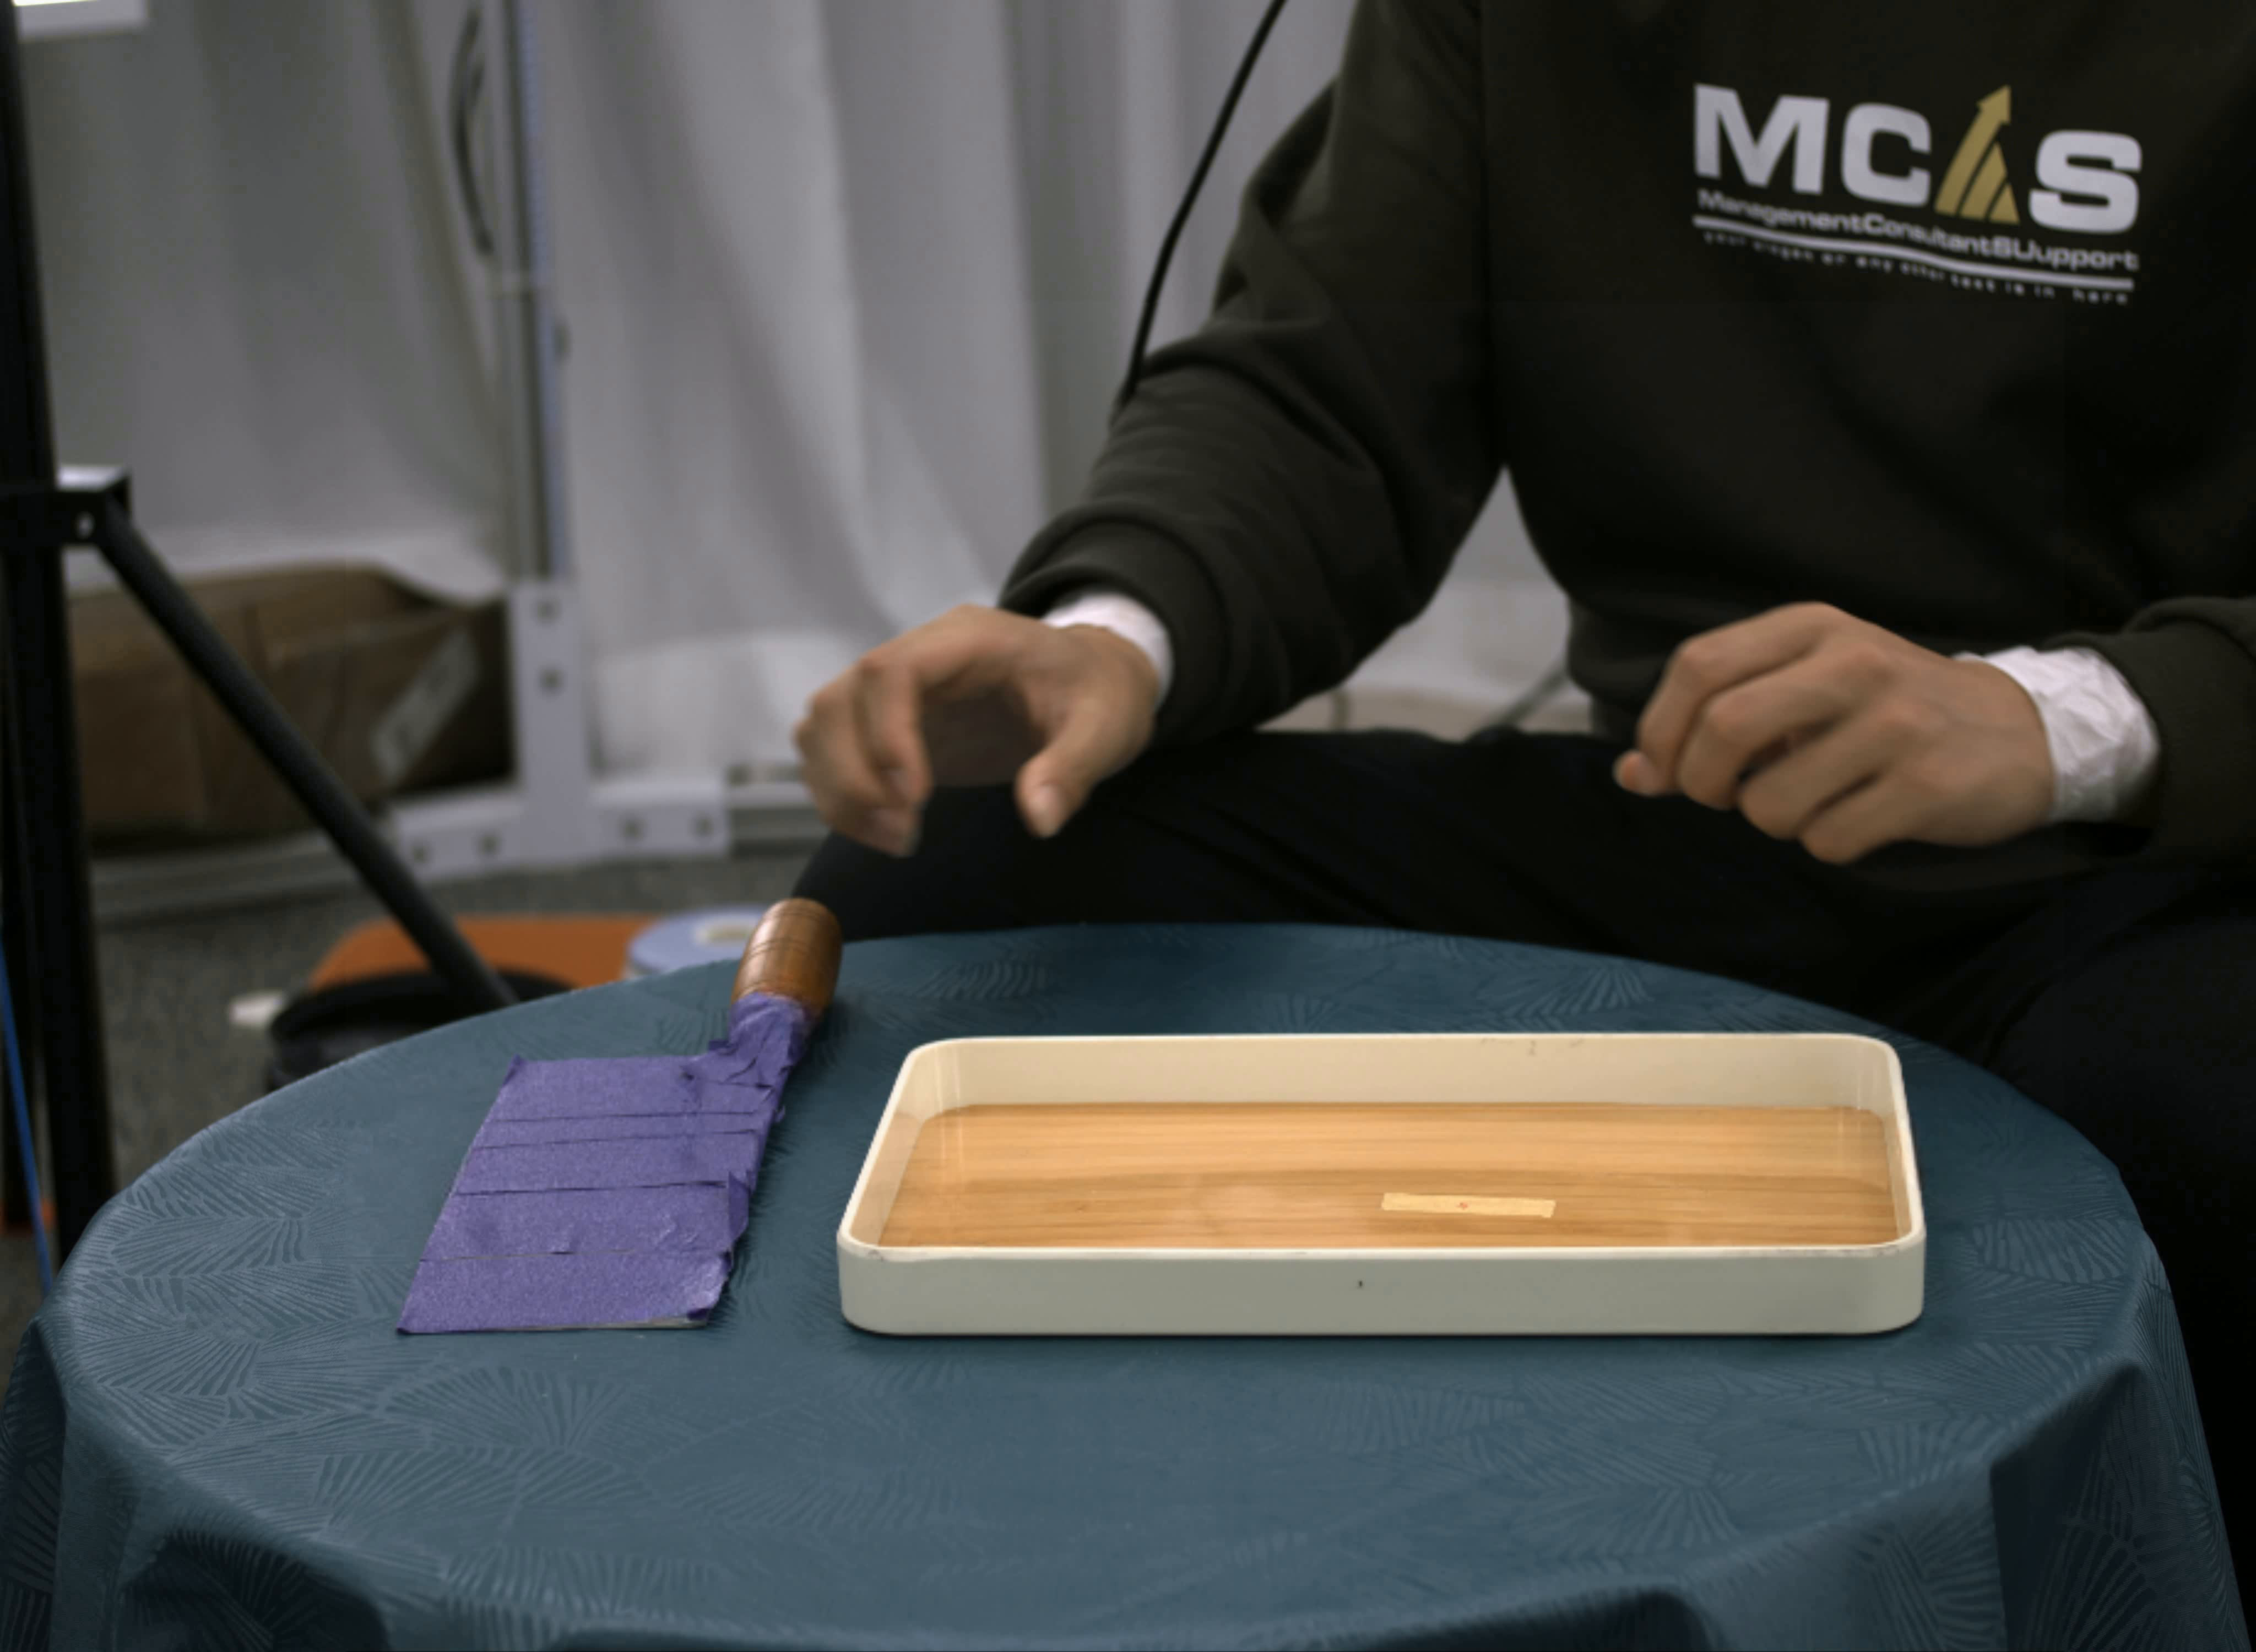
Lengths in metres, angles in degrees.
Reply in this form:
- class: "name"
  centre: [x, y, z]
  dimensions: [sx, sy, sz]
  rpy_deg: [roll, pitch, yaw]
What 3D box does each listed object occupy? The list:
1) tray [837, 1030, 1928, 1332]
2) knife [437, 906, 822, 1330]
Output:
- class: "tray"
  centre: [0.075, 0.101, 1.524]
  dimensions: [0.300, 0.027, 0.191]
  rpy_deg: [-1, 16, 7]
- class: "knife"
  centre: [-0.149, 0.085, 1.617]
  dimensions: [0.103, 0.032, 0.316]
  rpy_deg: [-1, 16, 3]
